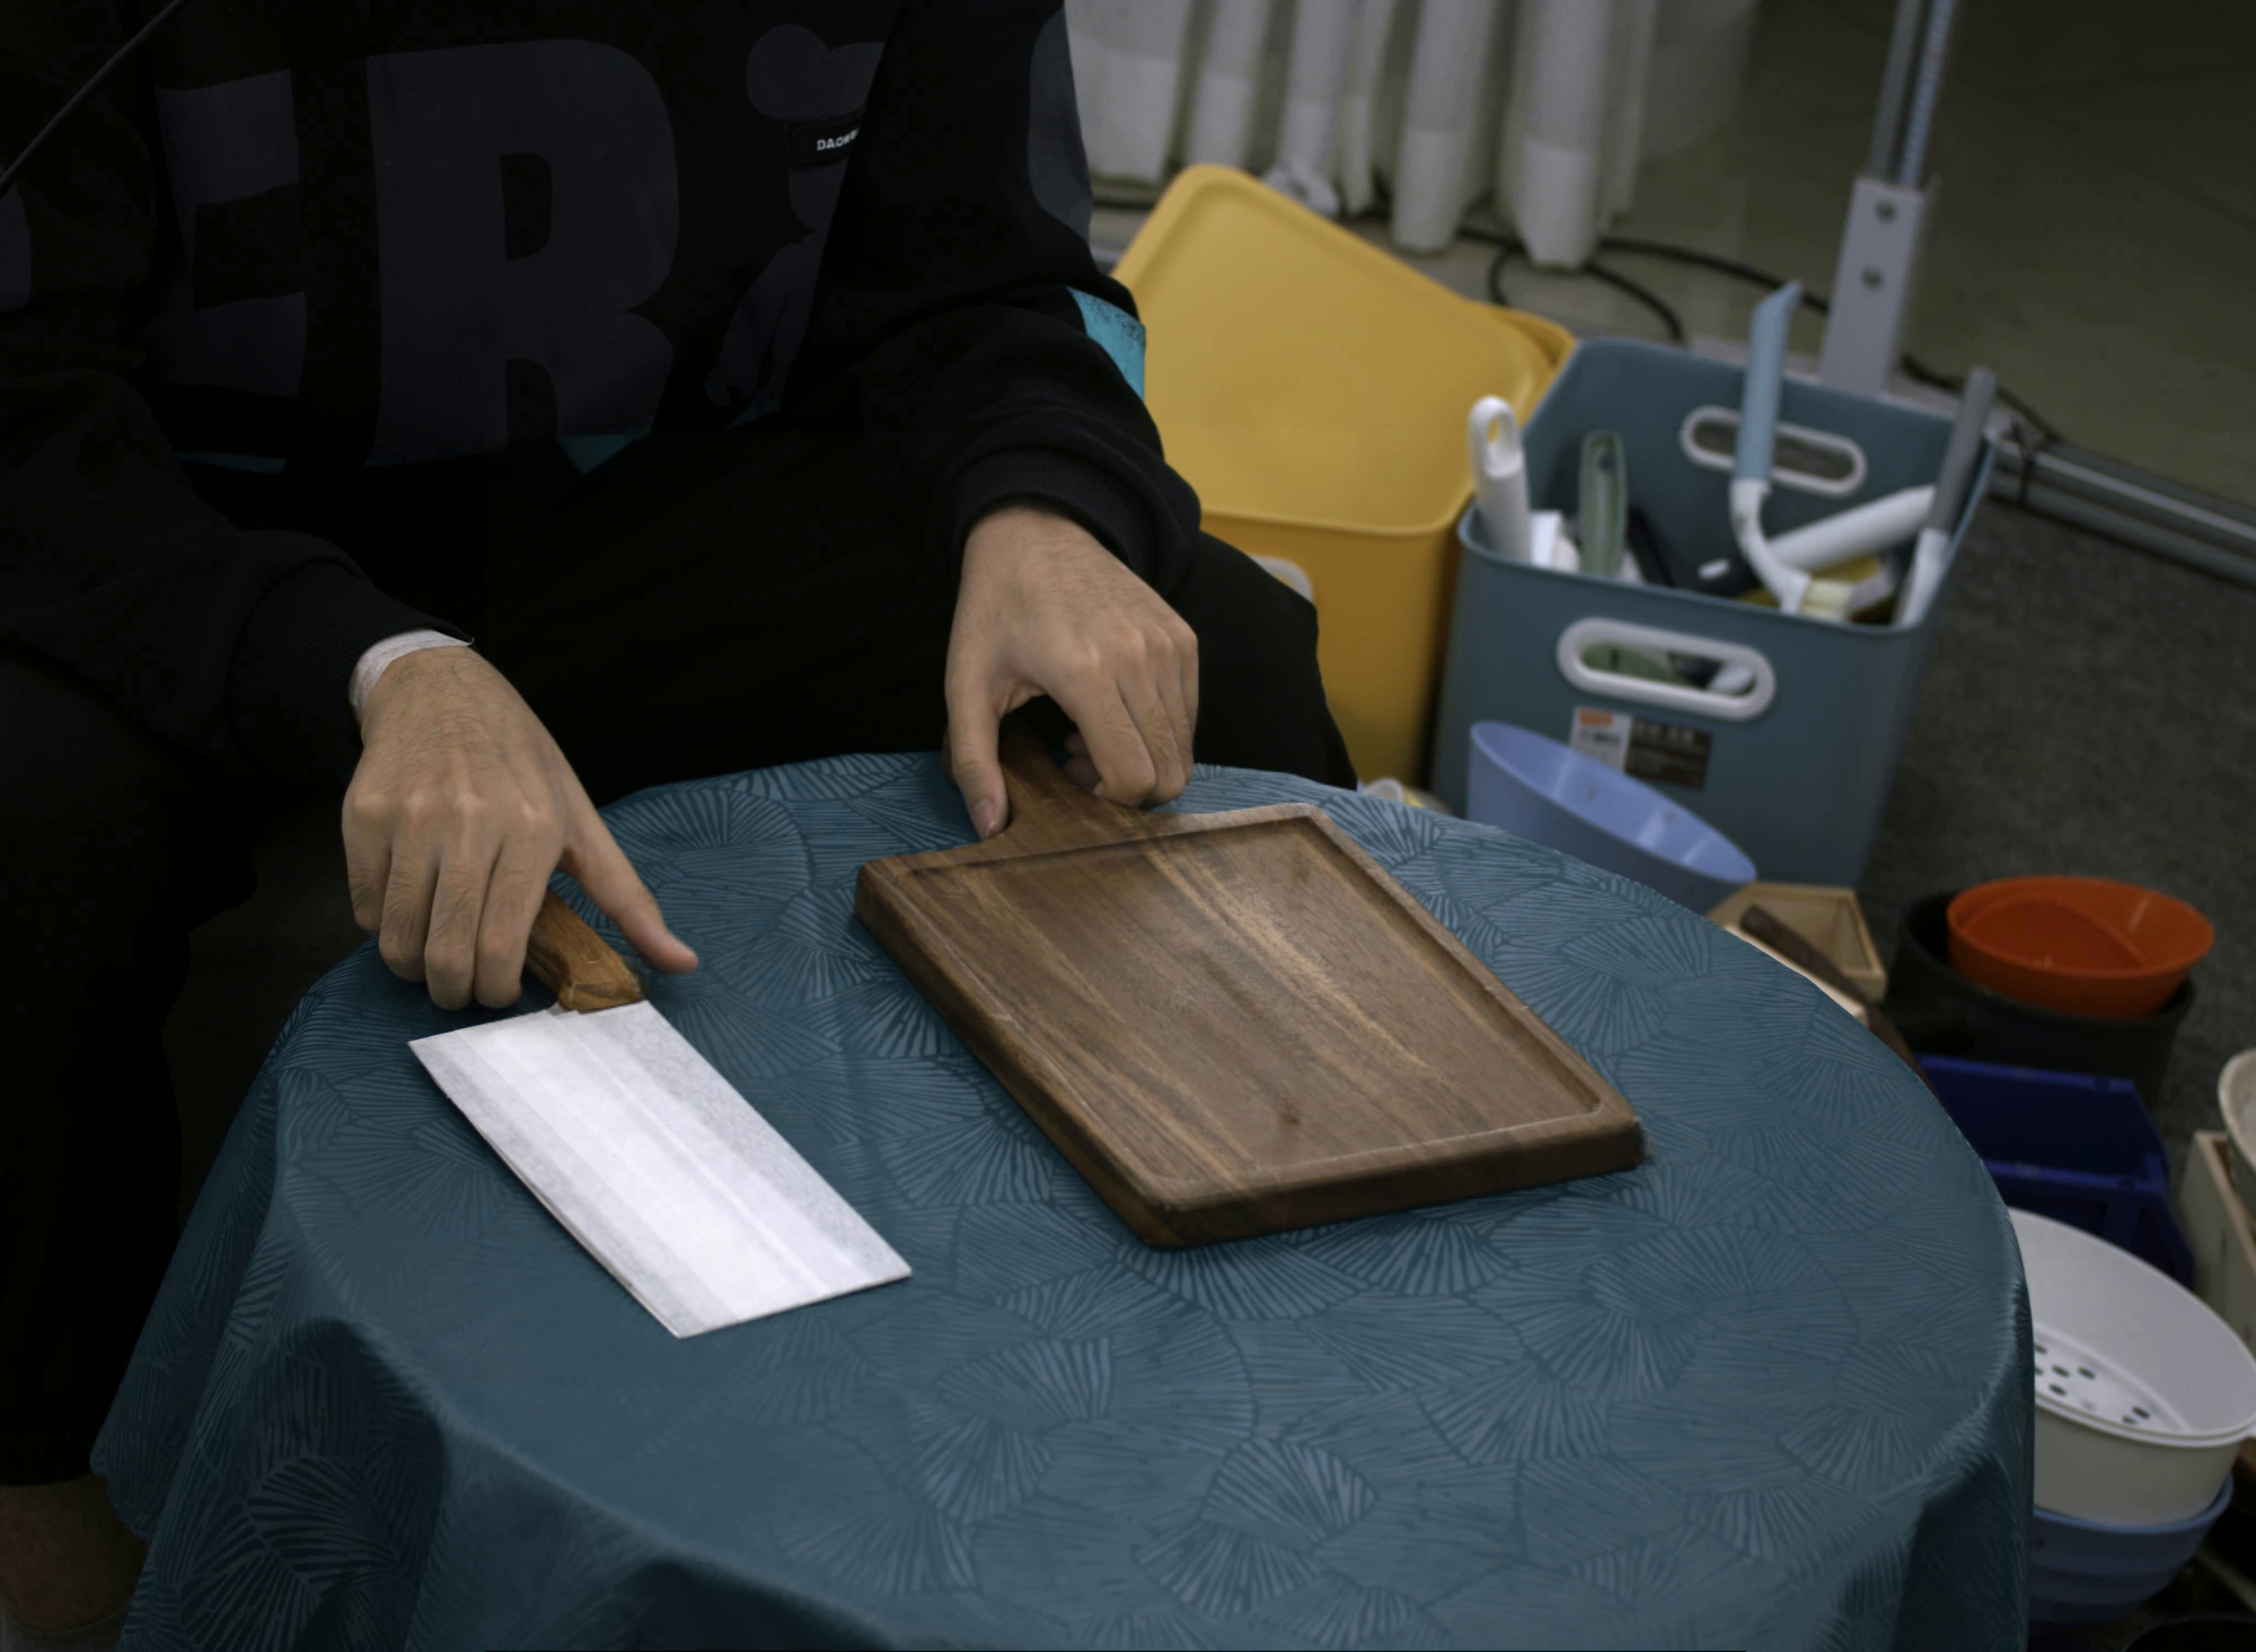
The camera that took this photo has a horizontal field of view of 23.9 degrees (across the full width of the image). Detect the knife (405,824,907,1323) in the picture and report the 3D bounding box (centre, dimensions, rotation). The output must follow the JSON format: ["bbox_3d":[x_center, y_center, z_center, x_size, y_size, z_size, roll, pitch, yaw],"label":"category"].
[{"bbox_3d":[-0.188,0.083,1.823,0.092,0.021,0.308,-13,35,-31],"label":"knife"}]

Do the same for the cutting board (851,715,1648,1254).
[{"bbox_3d":[0.018,0.044,1.939,0.200,0.023,0.355,-8,30,-26],"label":"cutting board"}]
